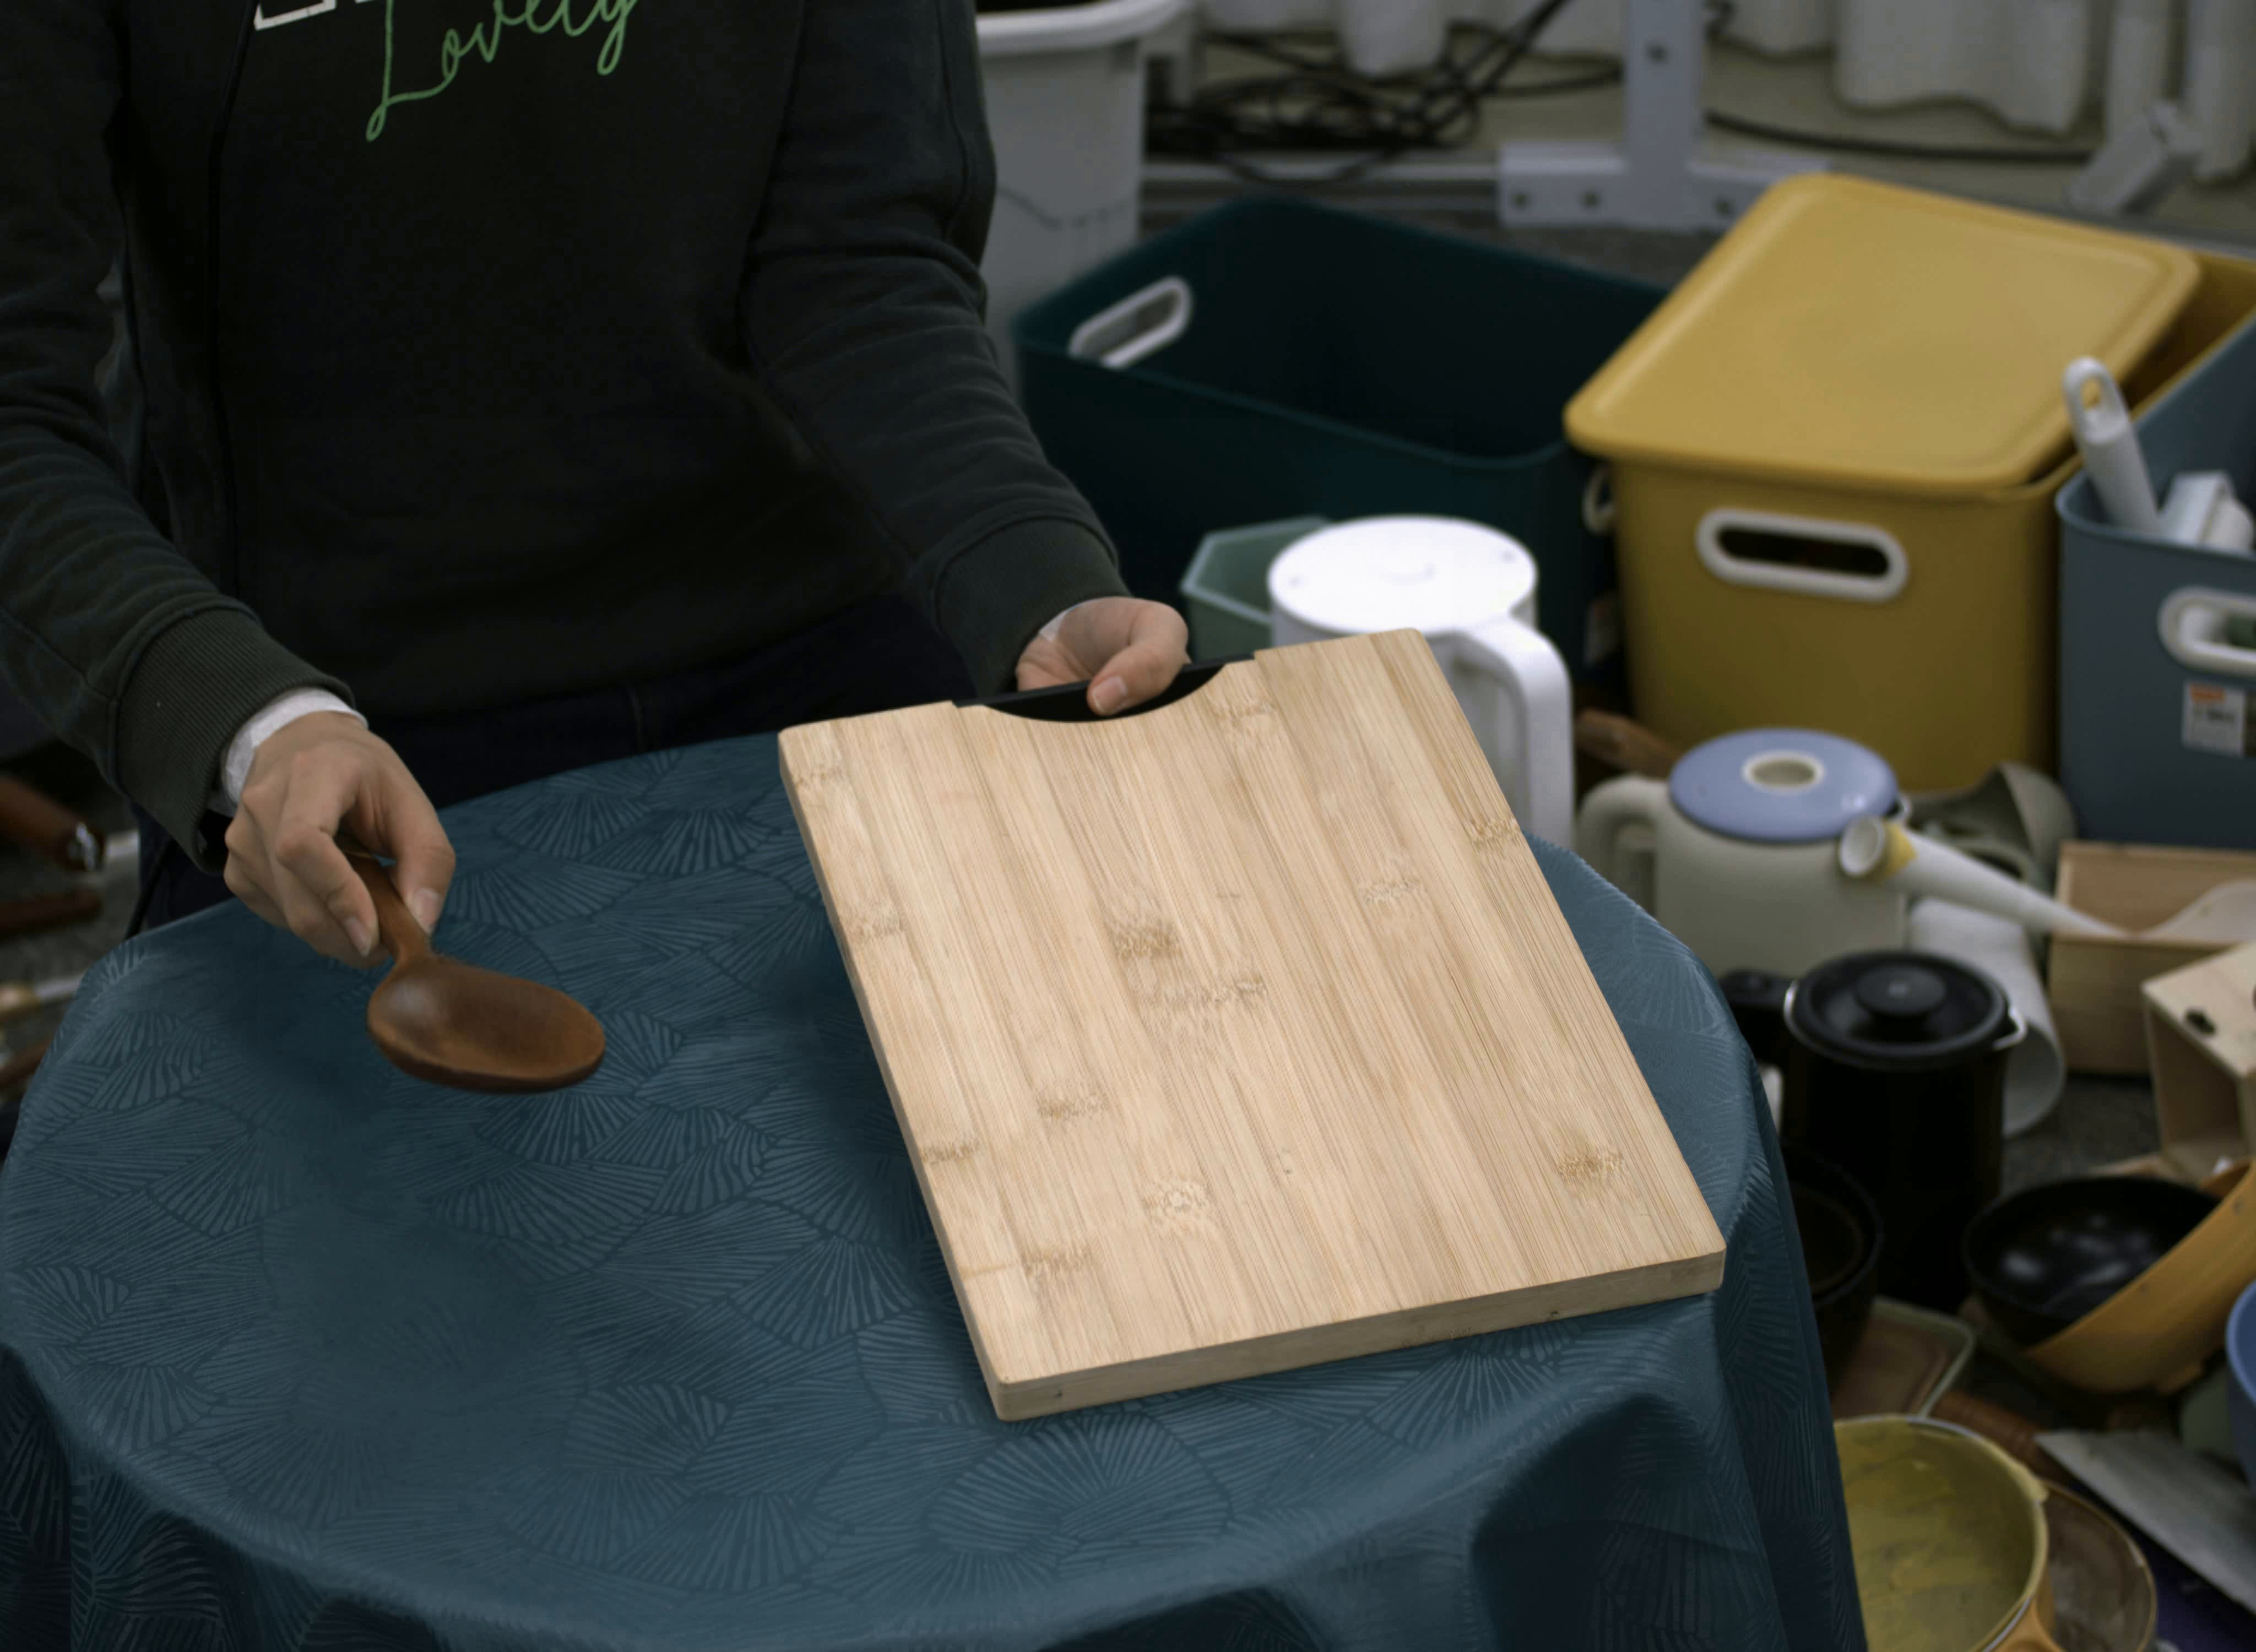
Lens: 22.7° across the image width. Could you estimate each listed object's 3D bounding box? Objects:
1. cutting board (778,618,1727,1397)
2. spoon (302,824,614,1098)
[{"bbox_3d":[0.033,0.054,1.898,0.251,0.023,0.354,-9,39,-13],"label":"cutting board"},{"bbox_3d":[-0.227,0.046,1.825,0.075,0.017,0.217,-4,23,-25],"label":"spoon"}]
